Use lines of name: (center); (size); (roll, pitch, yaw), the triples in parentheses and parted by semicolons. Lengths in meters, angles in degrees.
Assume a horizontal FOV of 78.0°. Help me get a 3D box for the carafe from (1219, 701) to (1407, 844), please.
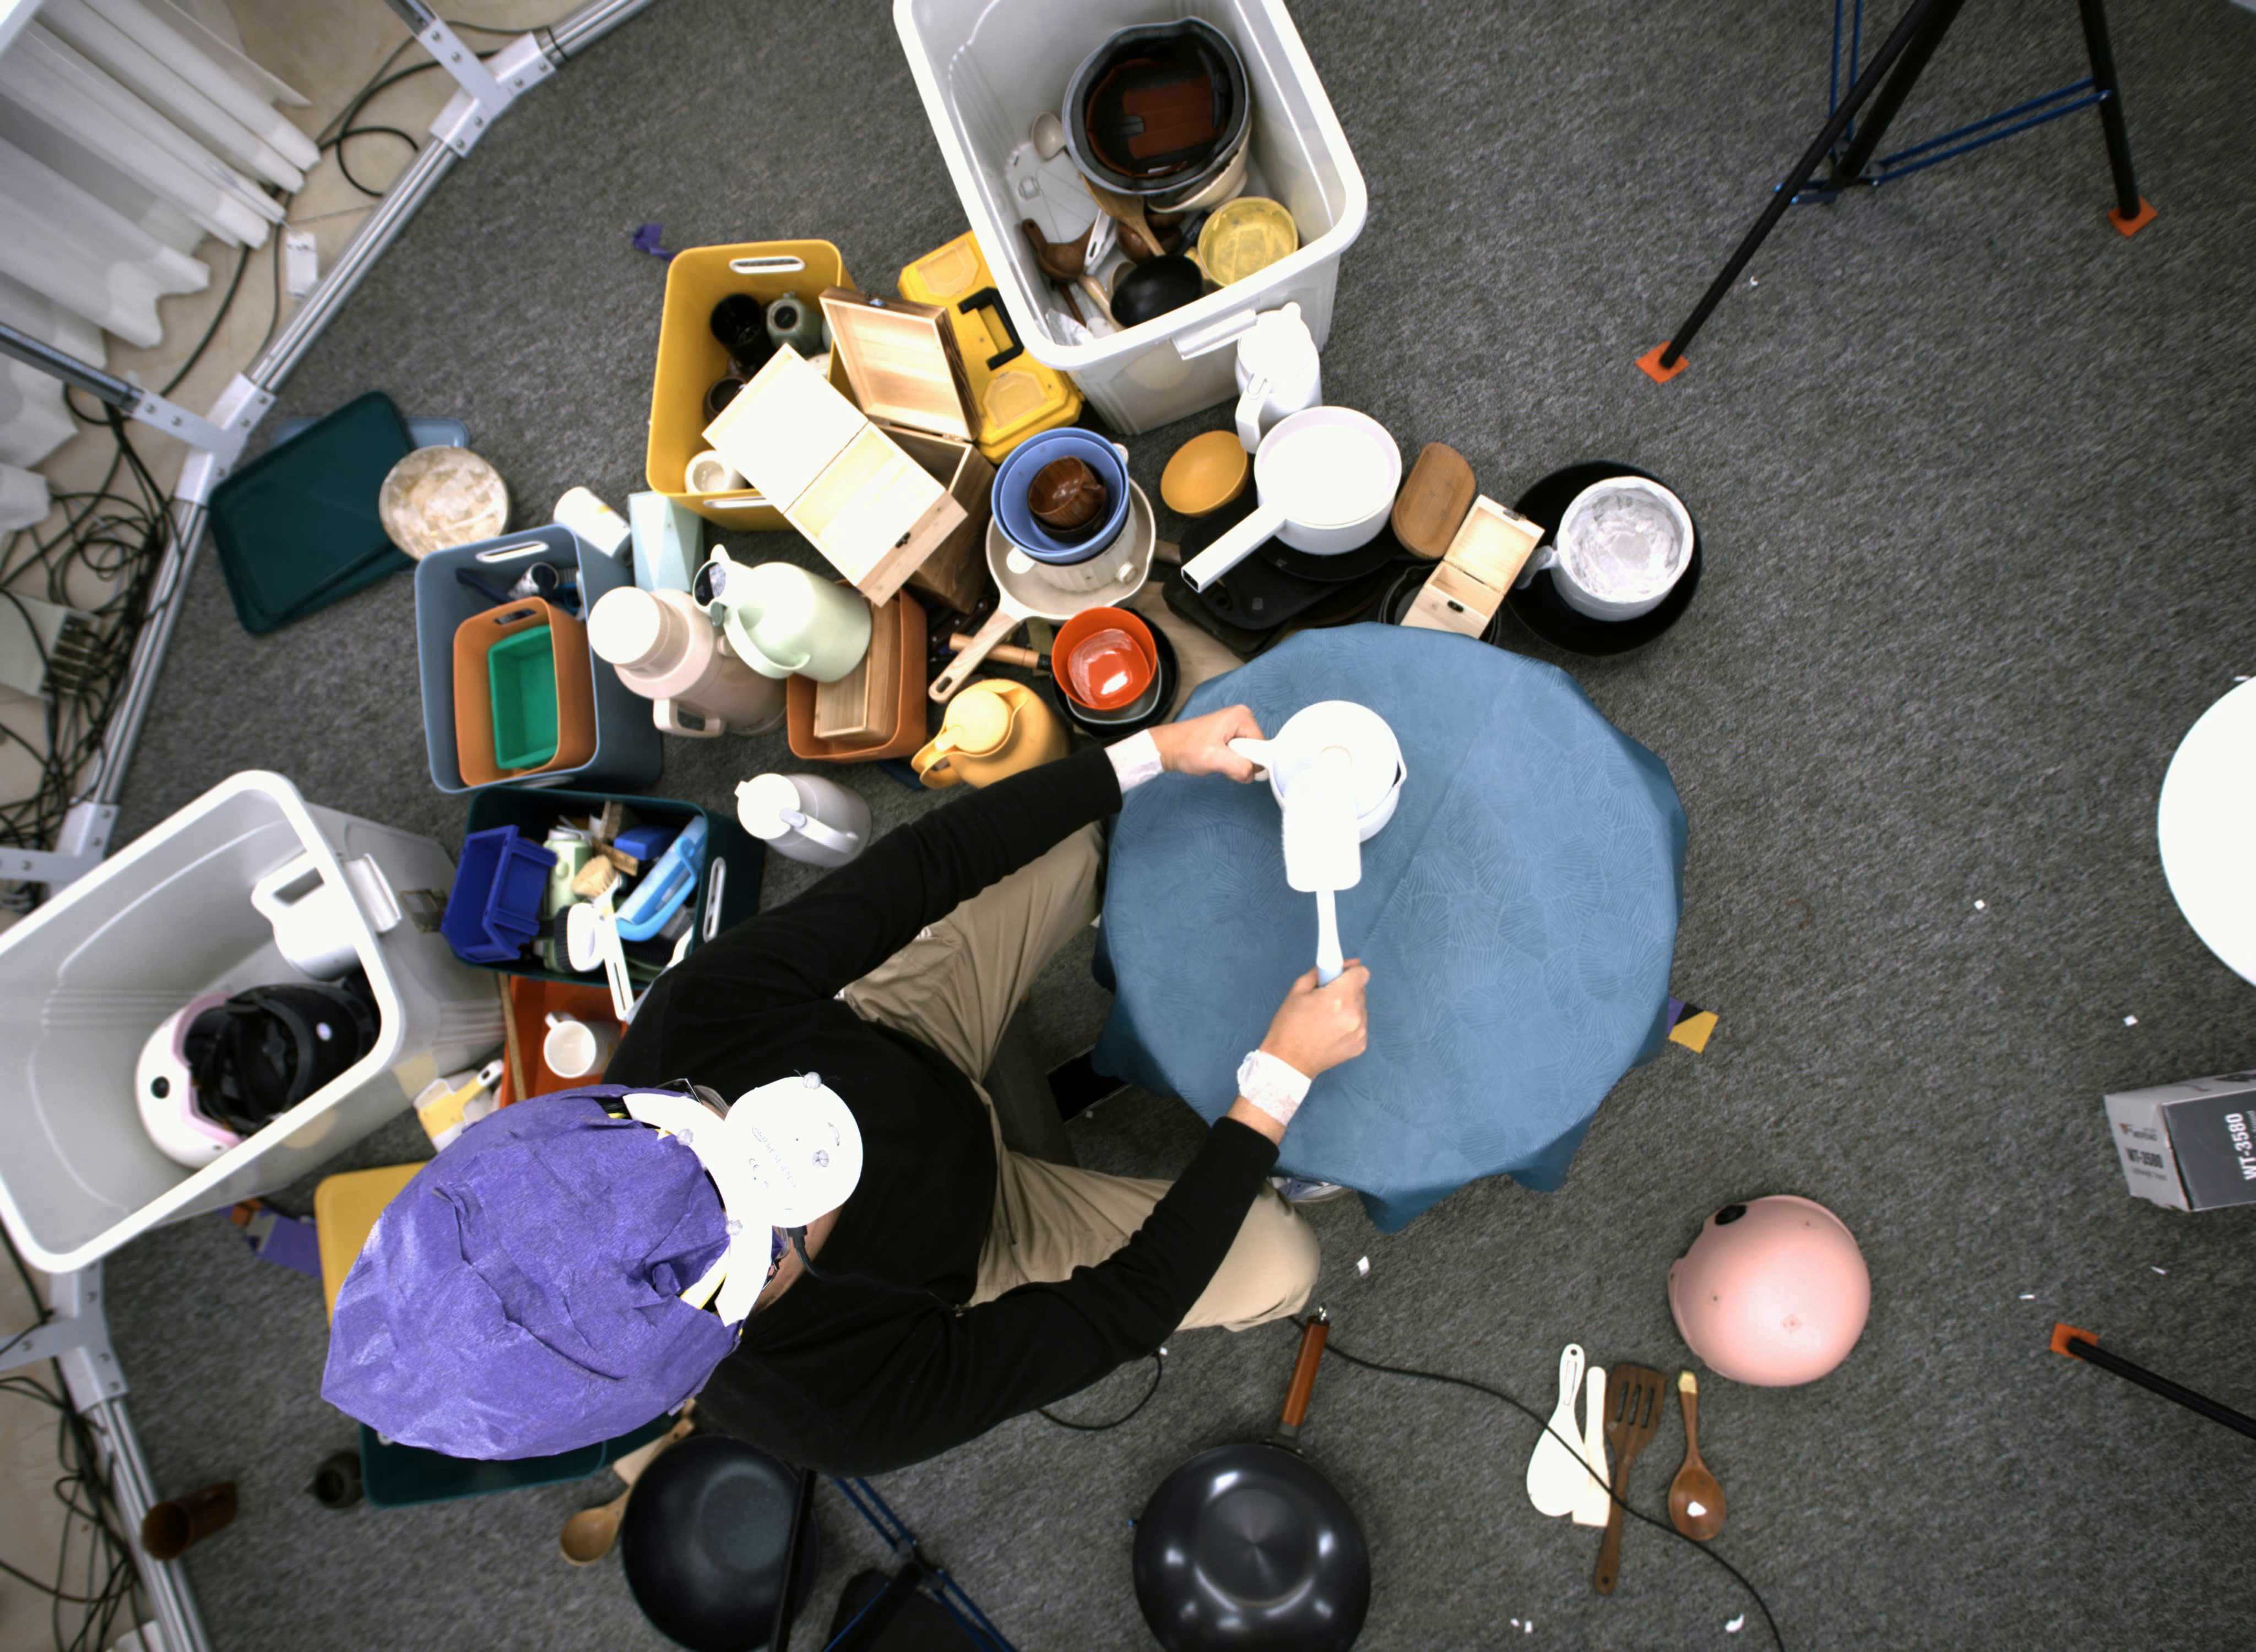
carafe: (0.185, -0.056, 1.395); (0.191, 0.183, 0.131); (9, 86, 12)

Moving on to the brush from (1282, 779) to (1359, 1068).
brush: (0.189, 0.093, 1.346); (0.083, 0.083, 0.332); (22, 134, 41)
